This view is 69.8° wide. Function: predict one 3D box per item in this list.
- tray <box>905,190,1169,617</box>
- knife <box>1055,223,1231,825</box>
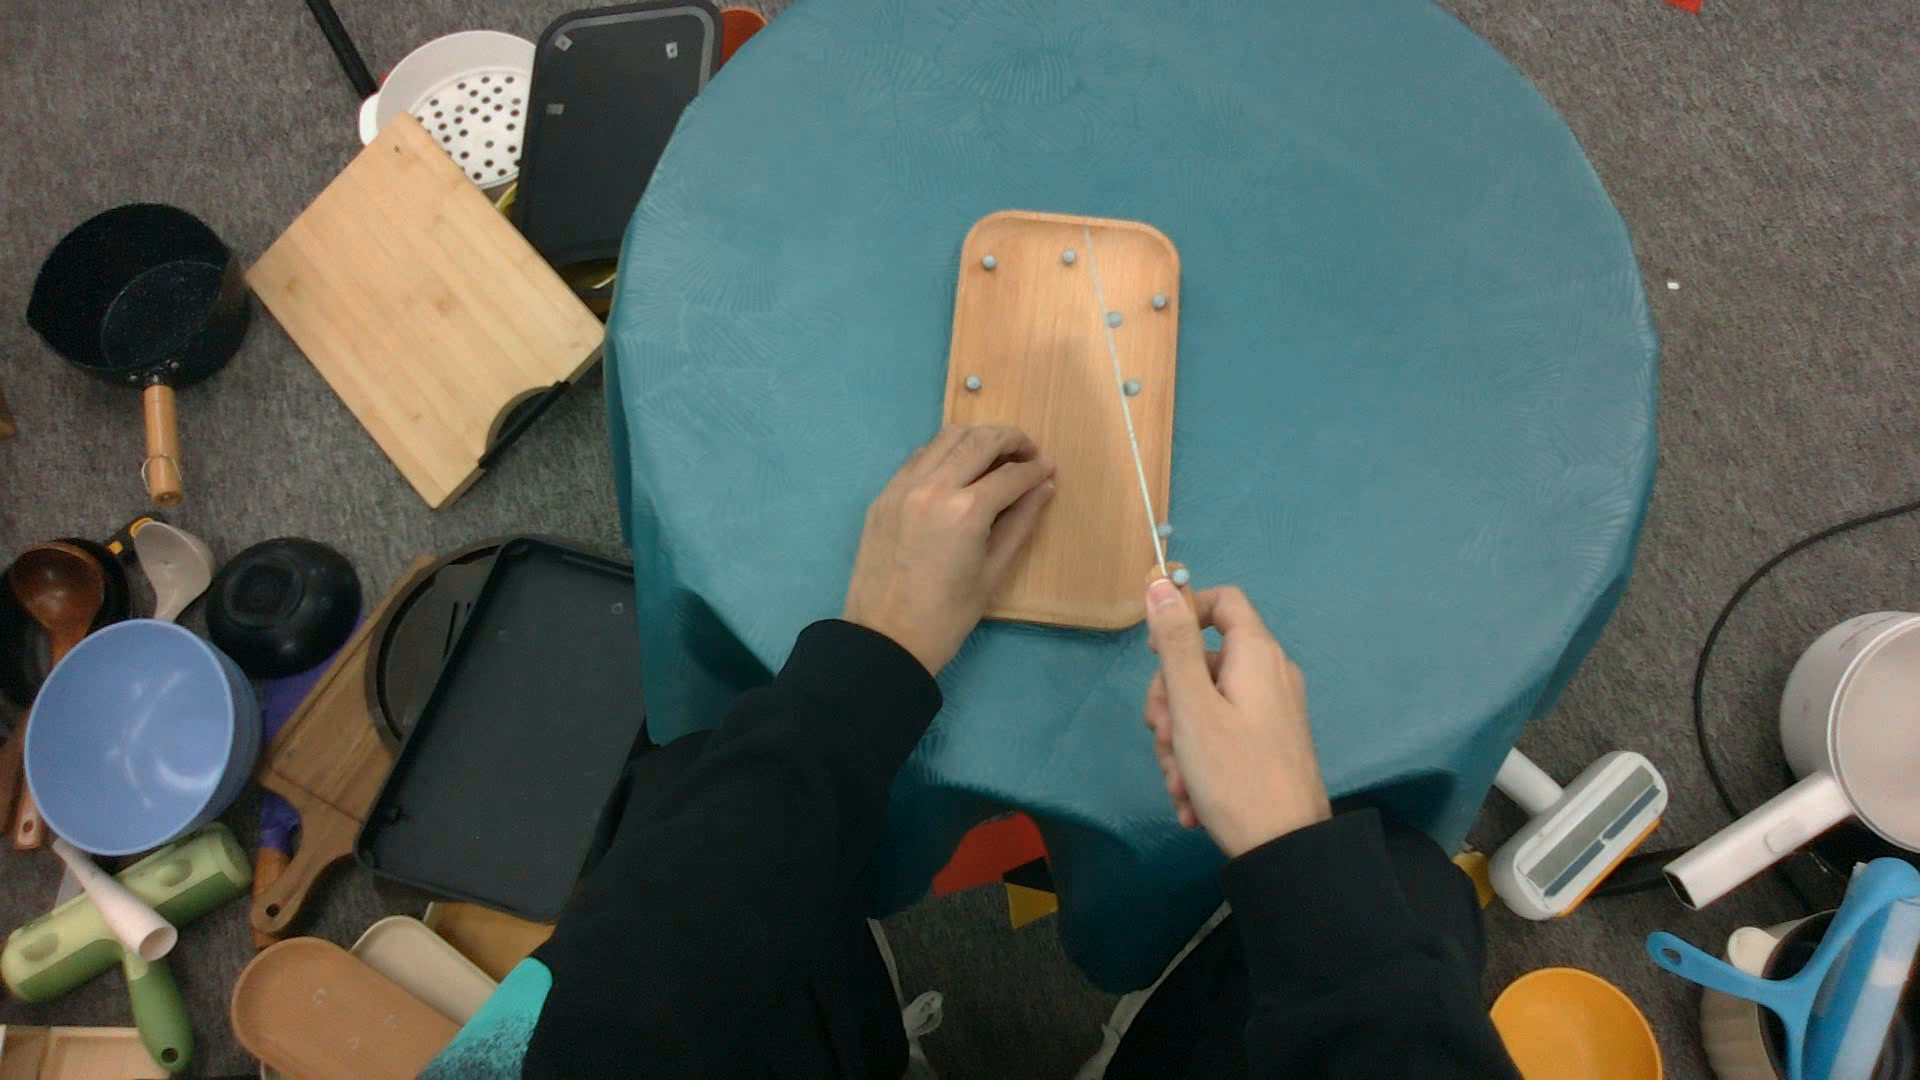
[{"bbox_3d":[0.046,-0.080,0.763,0.130,0.023,0.251,7,70,3],"label":"tray"},{"bbox_3d":[0.083,-0.009,0.668,0.021,0.093,0.306,-14,68,5],"label":"knife"}]
